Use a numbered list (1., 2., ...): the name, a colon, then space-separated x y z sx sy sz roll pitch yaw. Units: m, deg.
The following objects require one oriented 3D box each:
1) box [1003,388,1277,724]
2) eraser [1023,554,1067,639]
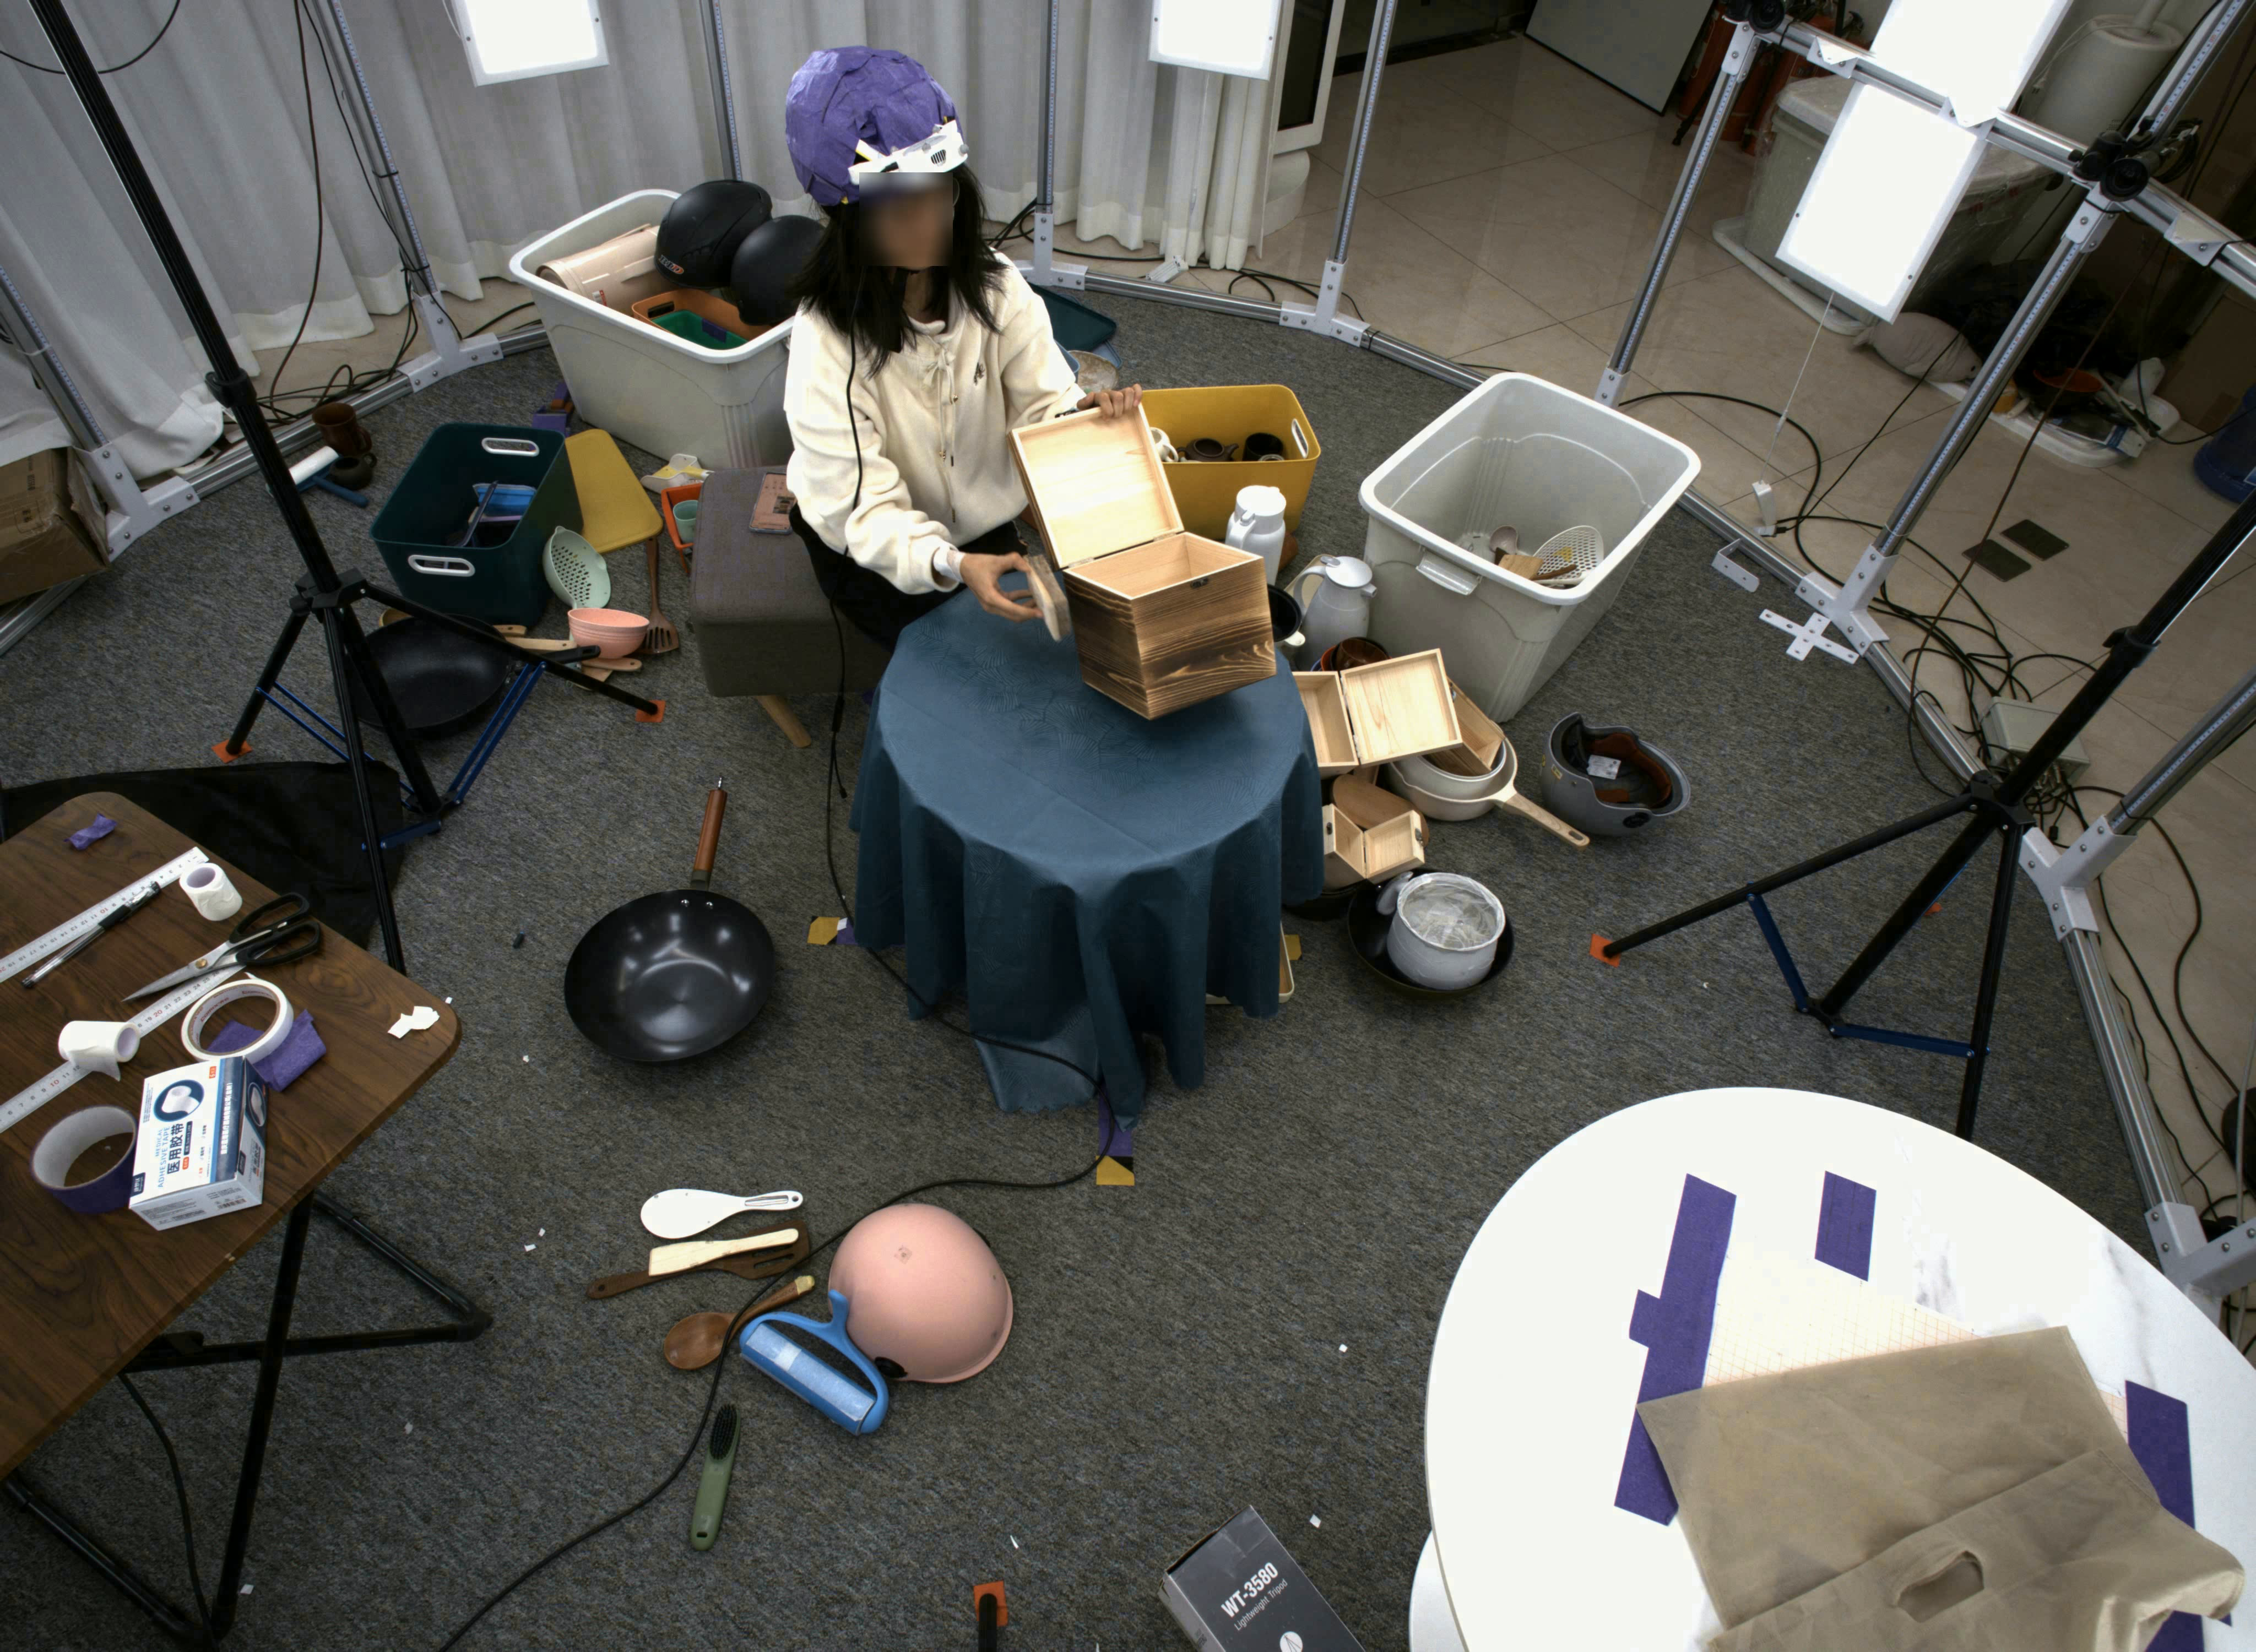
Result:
1. box: 0.015 -0.381 1.763 0.209 0.368 0.327 -22 29 -21
2. eraser: -0.112 -0.317 1.761 0.029 0.056 0.143 -15 41 -7
